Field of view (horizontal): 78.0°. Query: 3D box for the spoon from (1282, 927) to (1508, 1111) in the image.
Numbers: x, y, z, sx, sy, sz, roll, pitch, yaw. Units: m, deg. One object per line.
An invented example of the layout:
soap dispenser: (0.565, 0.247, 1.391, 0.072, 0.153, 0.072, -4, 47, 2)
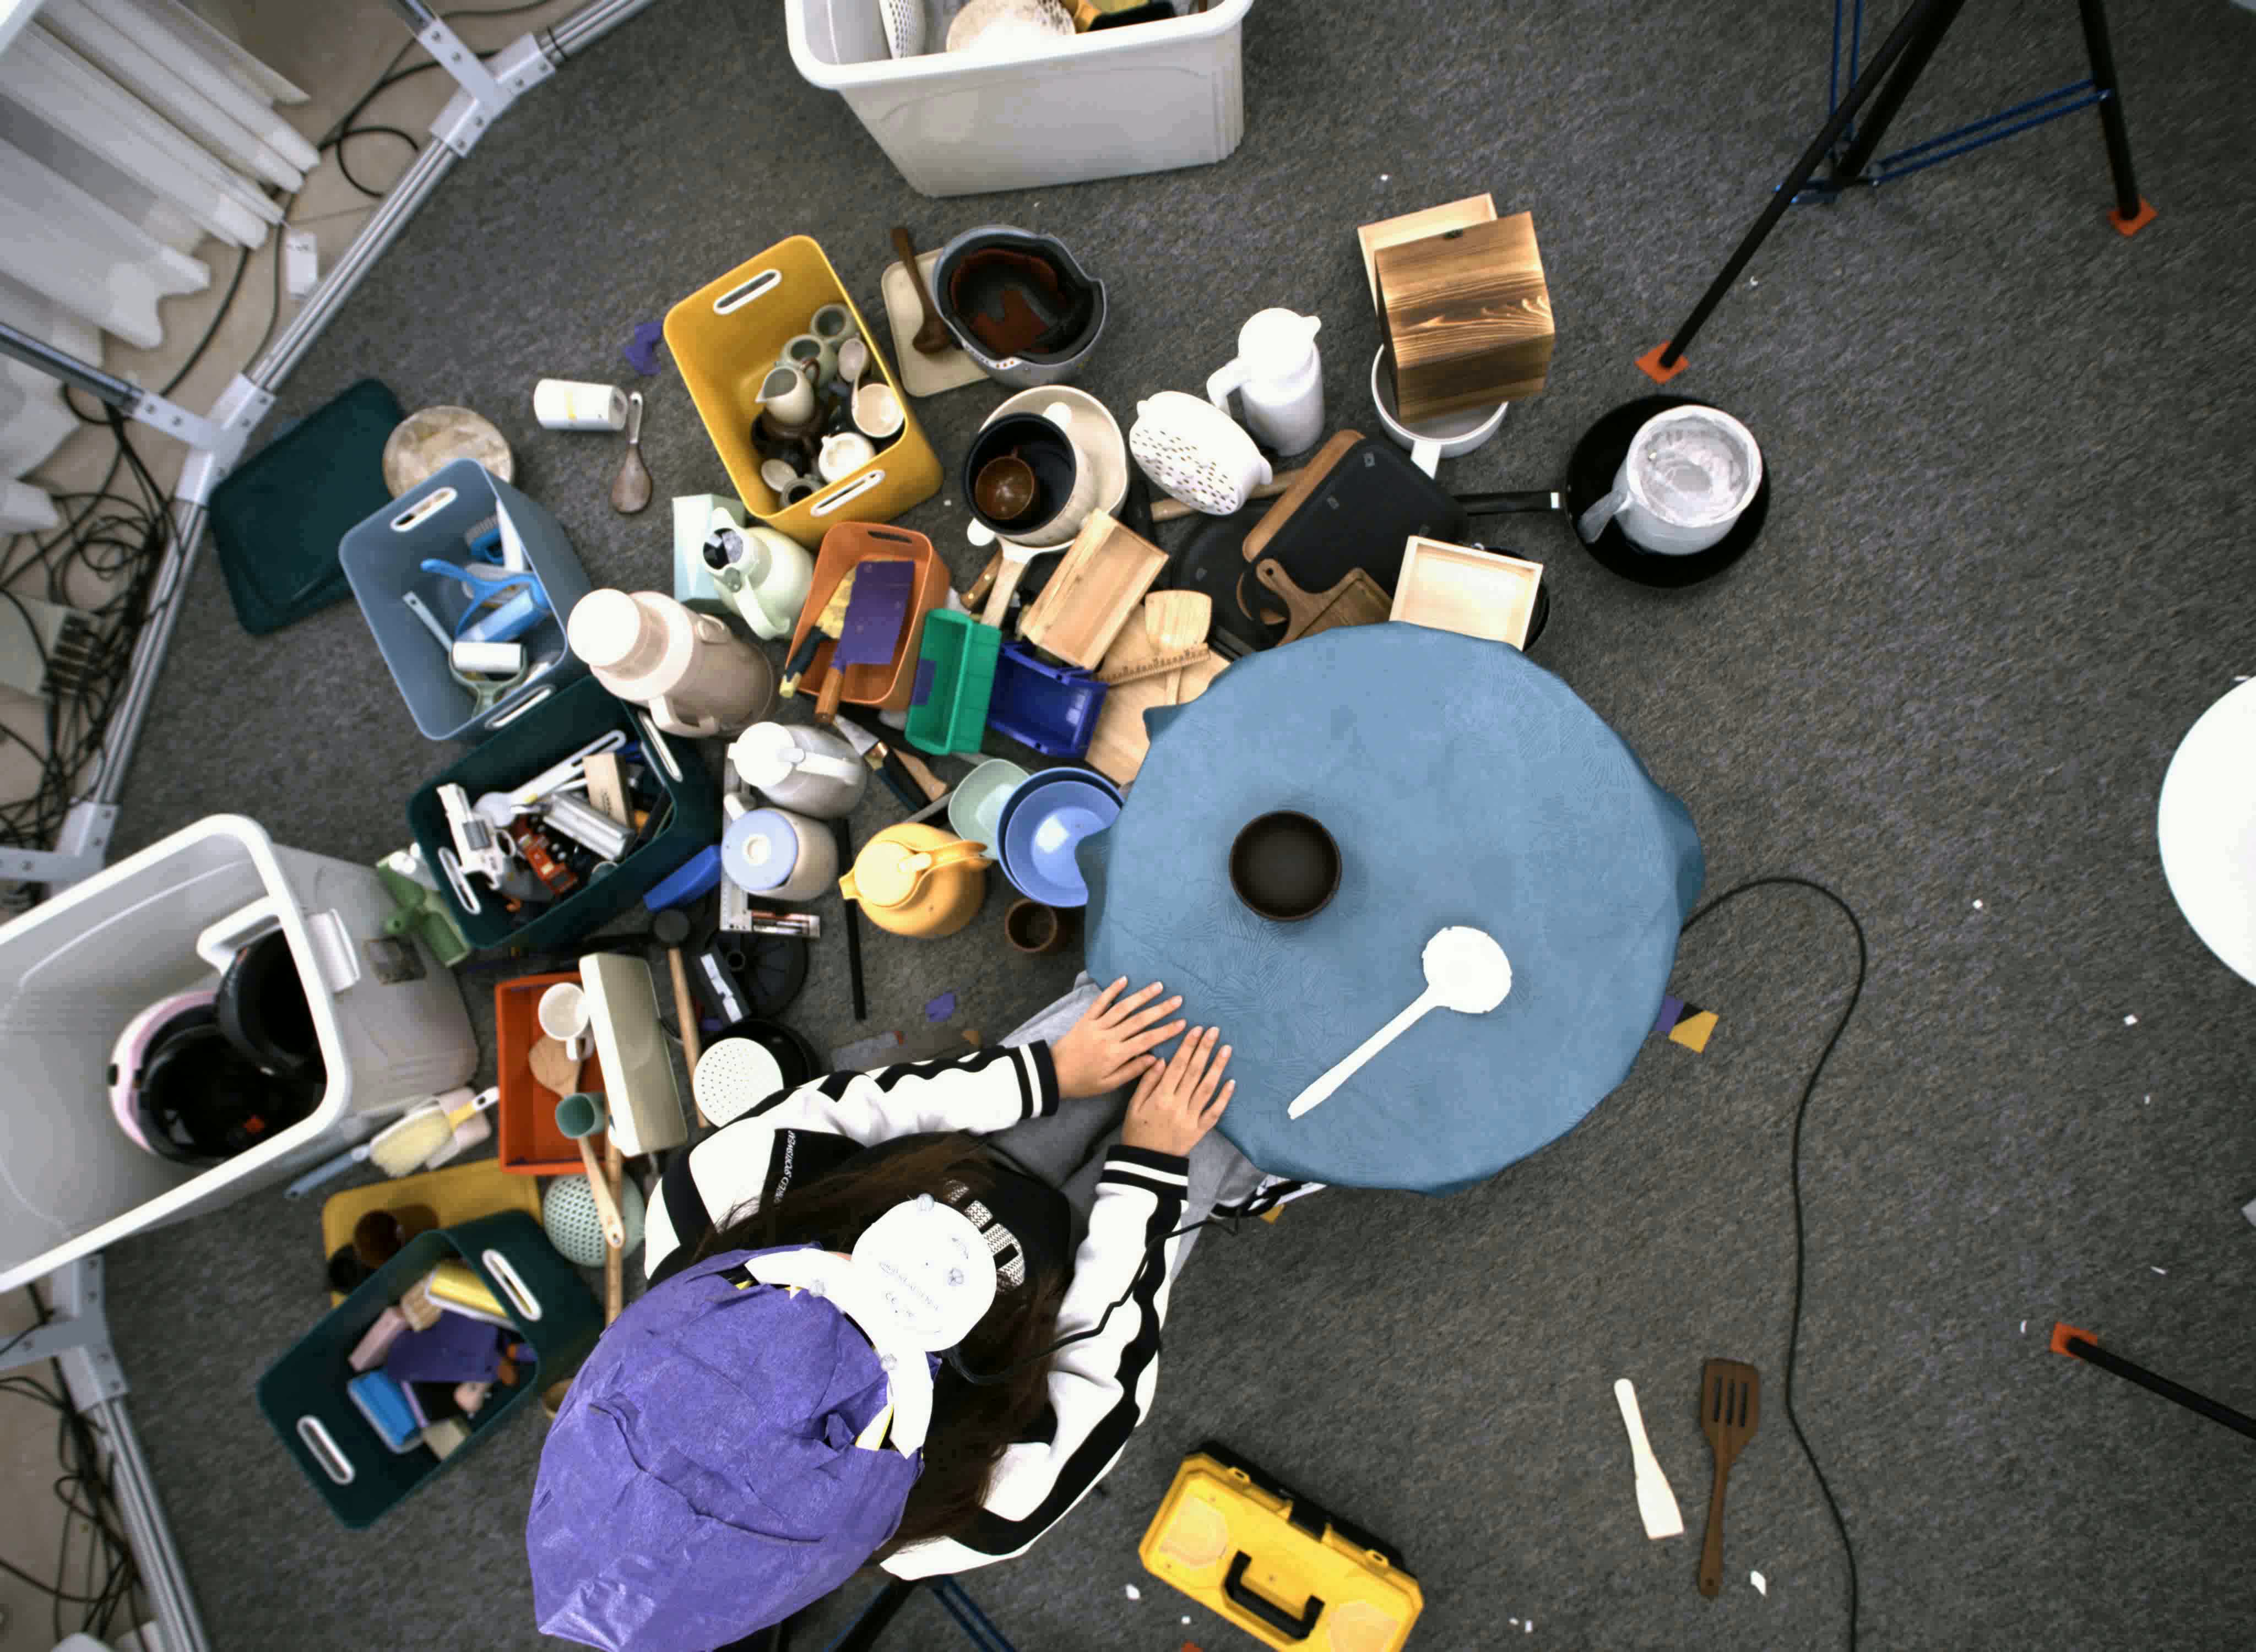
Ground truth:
spoon: (0.265, 0.205, 1.425, 0.279, 0.059, 0.100, -38, 77, 6)

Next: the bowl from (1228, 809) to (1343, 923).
bowl: (0.165, 0.043, 1.444, 0.118, 0.070, 0.117, -1, 86, 11)
